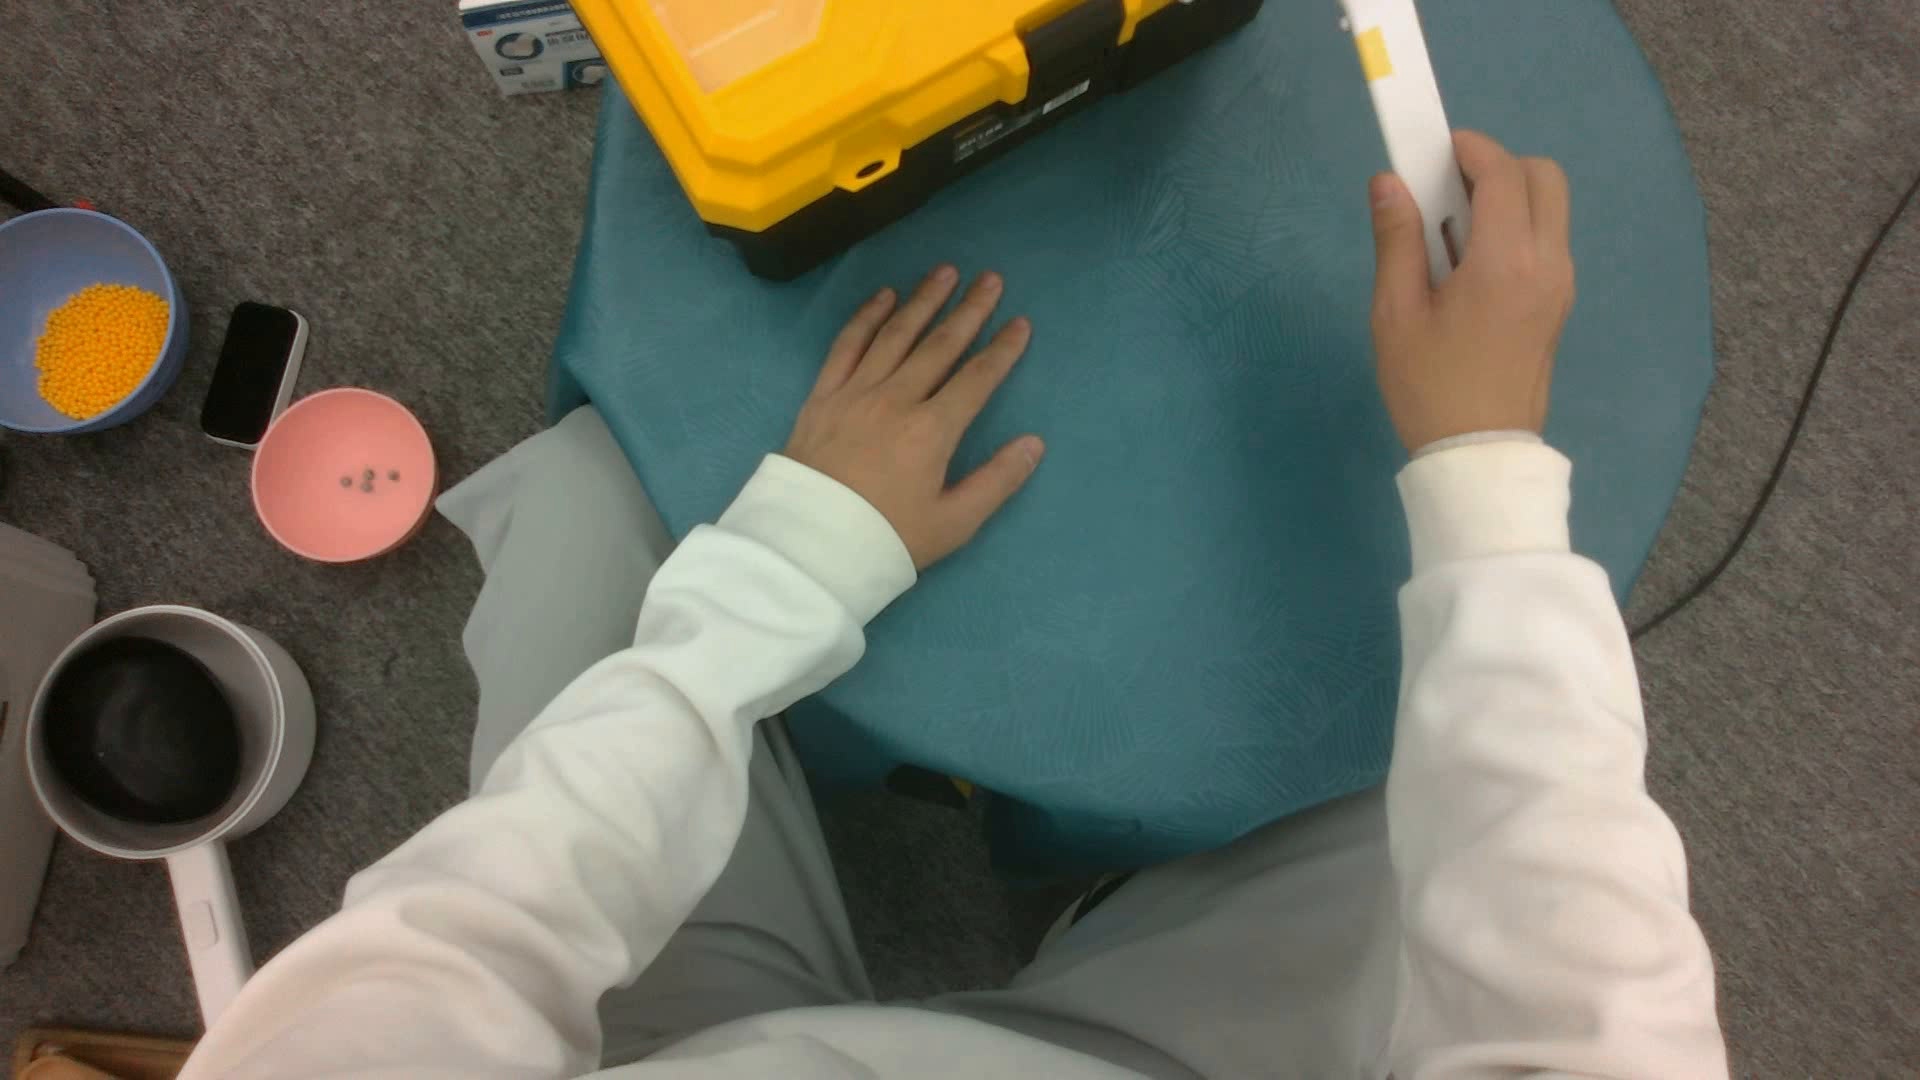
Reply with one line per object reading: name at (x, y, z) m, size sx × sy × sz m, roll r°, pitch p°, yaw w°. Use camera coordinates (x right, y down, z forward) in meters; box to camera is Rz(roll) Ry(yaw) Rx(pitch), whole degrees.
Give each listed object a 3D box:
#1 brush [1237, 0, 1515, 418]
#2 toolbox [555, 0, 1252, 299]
brush at (0.195, -0.177, 0.632) m, size 0.068 × 0.056 × 0.266 m, roll -28°, pitch 113°, yaw -1°
toolbox at (-0.001, -0.271, 0.678) m, size 0.352 × 0.172 × 0.181 m, roll -32°, pitch 82°, yaw -7°
